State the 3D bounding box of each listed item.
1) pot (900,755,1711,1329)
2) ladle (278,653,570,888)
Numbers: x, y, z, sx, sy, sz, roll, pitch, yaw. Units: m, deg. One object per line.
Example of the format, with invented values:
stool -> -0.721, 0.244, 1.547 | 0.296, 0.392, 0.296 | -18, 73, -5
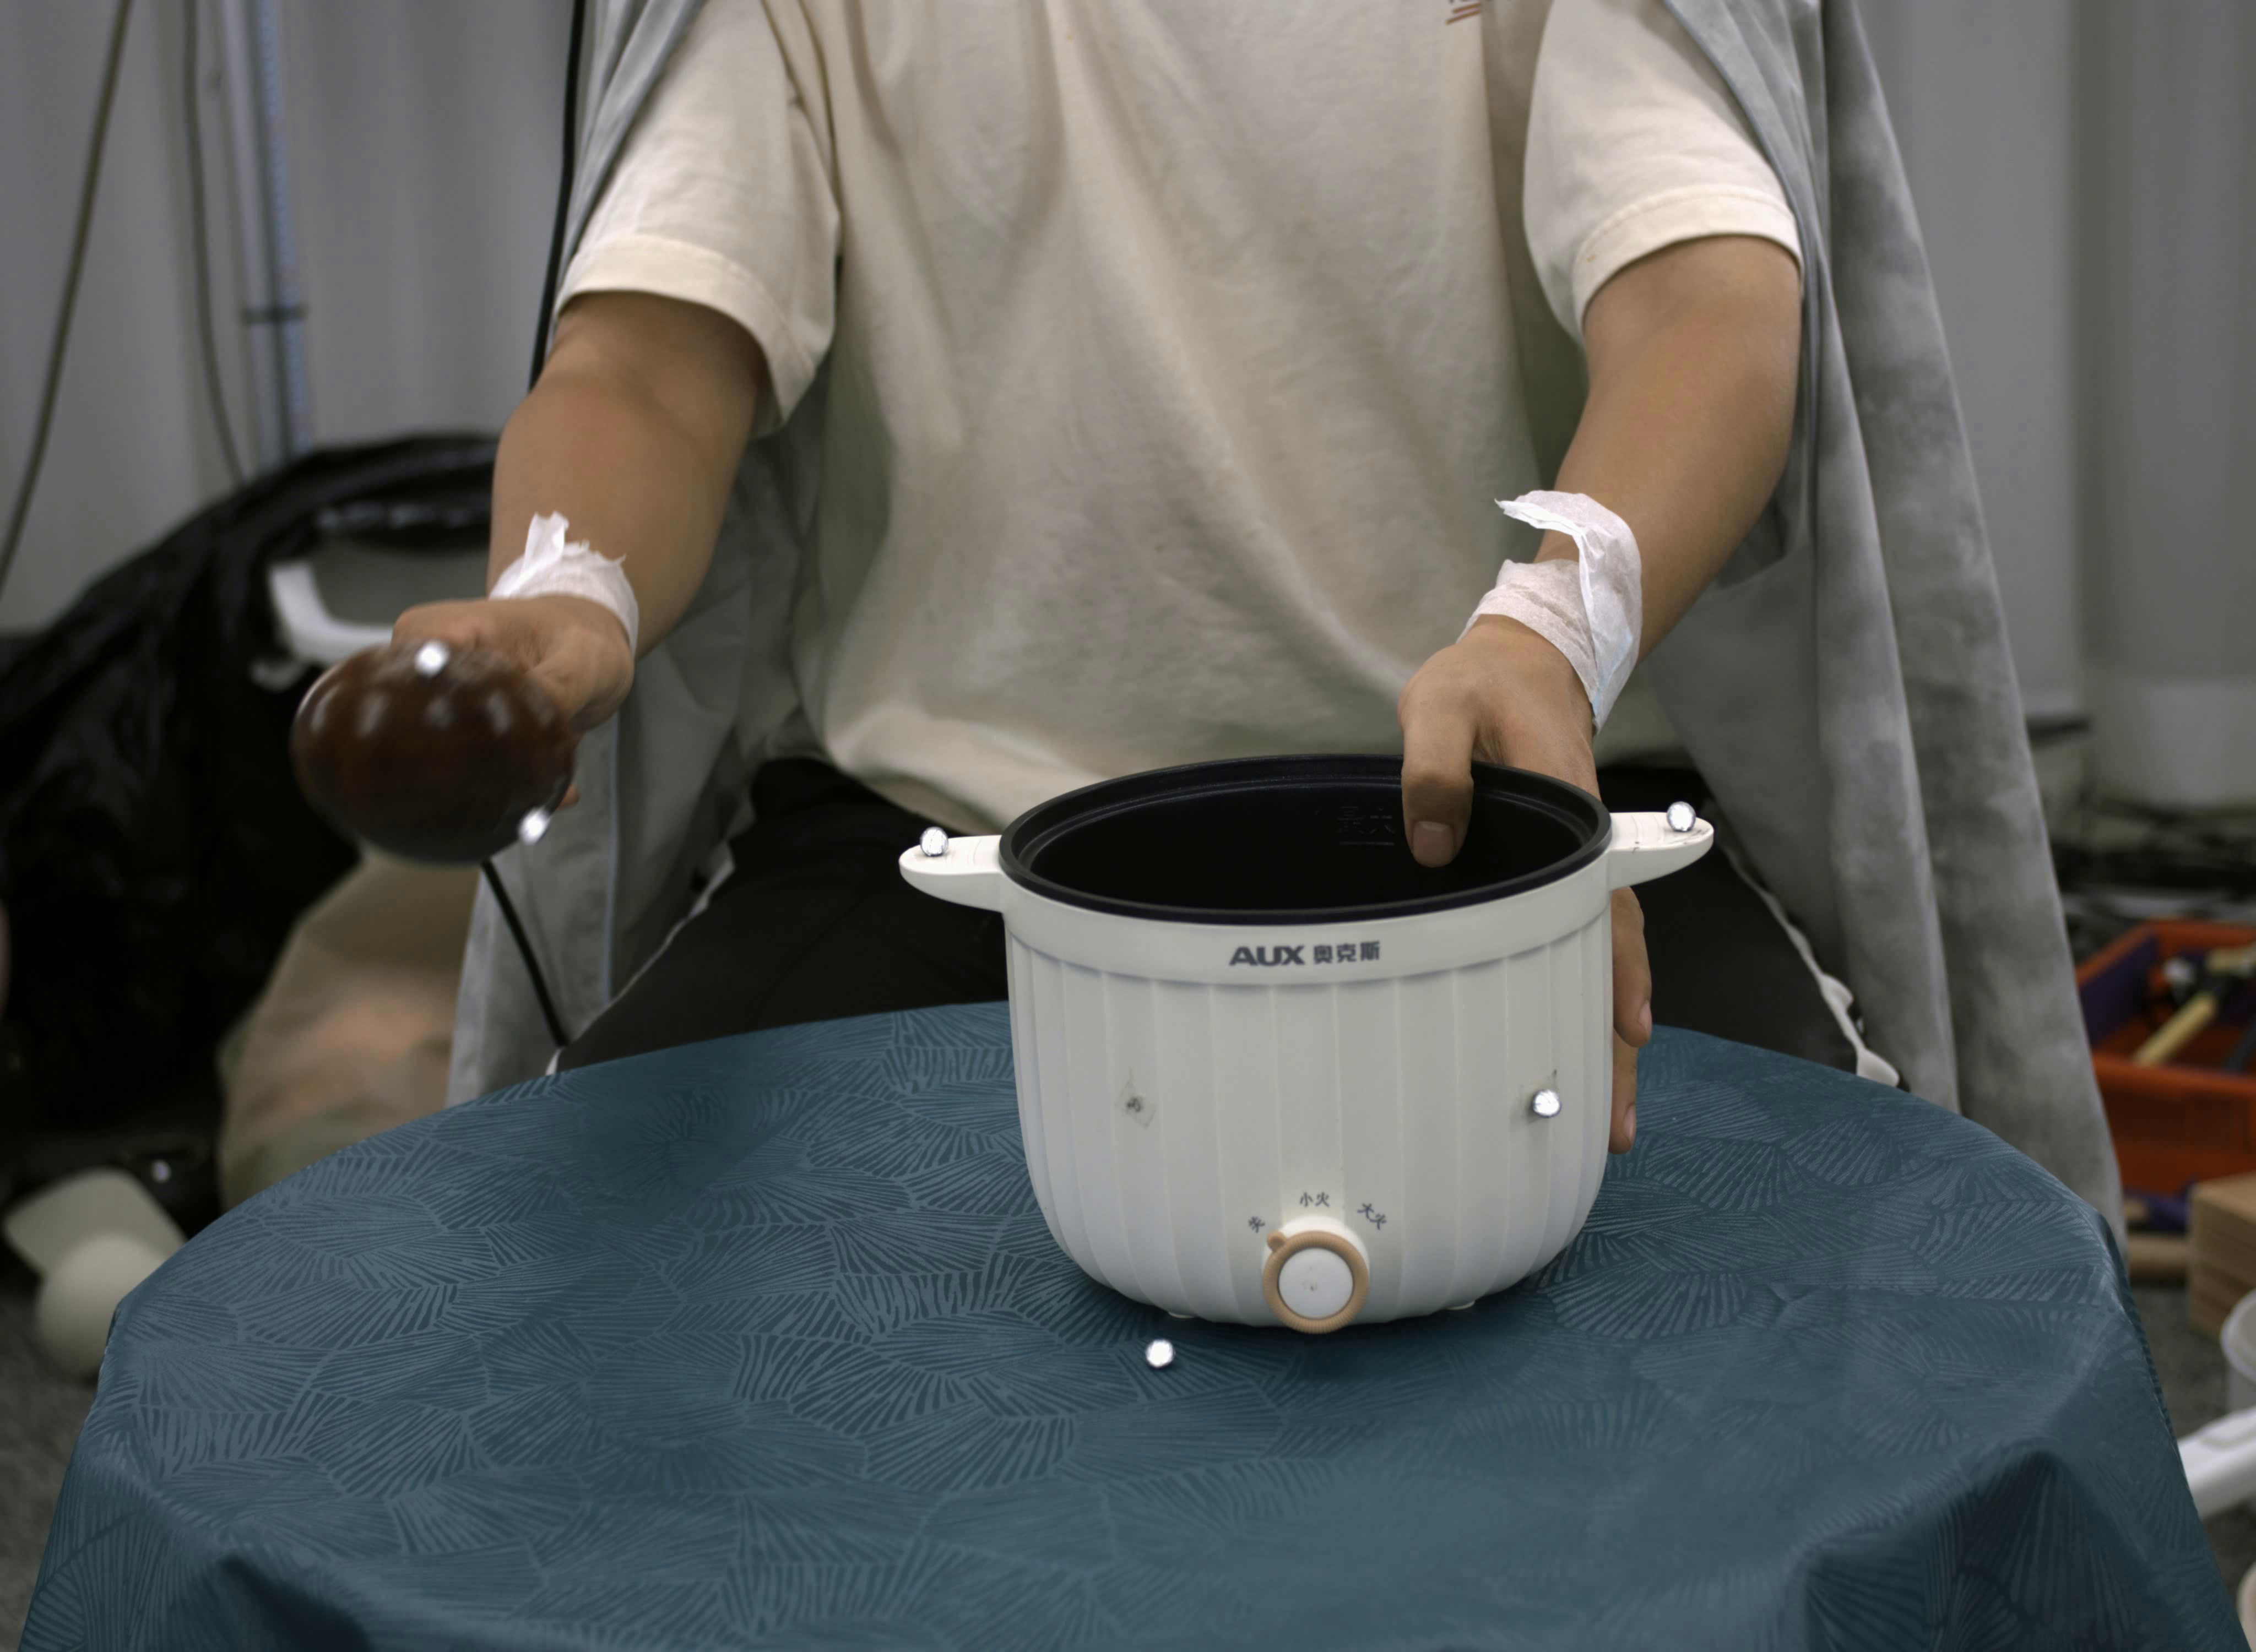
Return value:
pot -> 0.056, 0.066, 1.622 | 0.240, 0.142, 0.191 | -3, 11, 3
ladle -> -0.200, -0.033, 1.673 | 0.081, 0.076, 0.275 | 7, 10, 1
